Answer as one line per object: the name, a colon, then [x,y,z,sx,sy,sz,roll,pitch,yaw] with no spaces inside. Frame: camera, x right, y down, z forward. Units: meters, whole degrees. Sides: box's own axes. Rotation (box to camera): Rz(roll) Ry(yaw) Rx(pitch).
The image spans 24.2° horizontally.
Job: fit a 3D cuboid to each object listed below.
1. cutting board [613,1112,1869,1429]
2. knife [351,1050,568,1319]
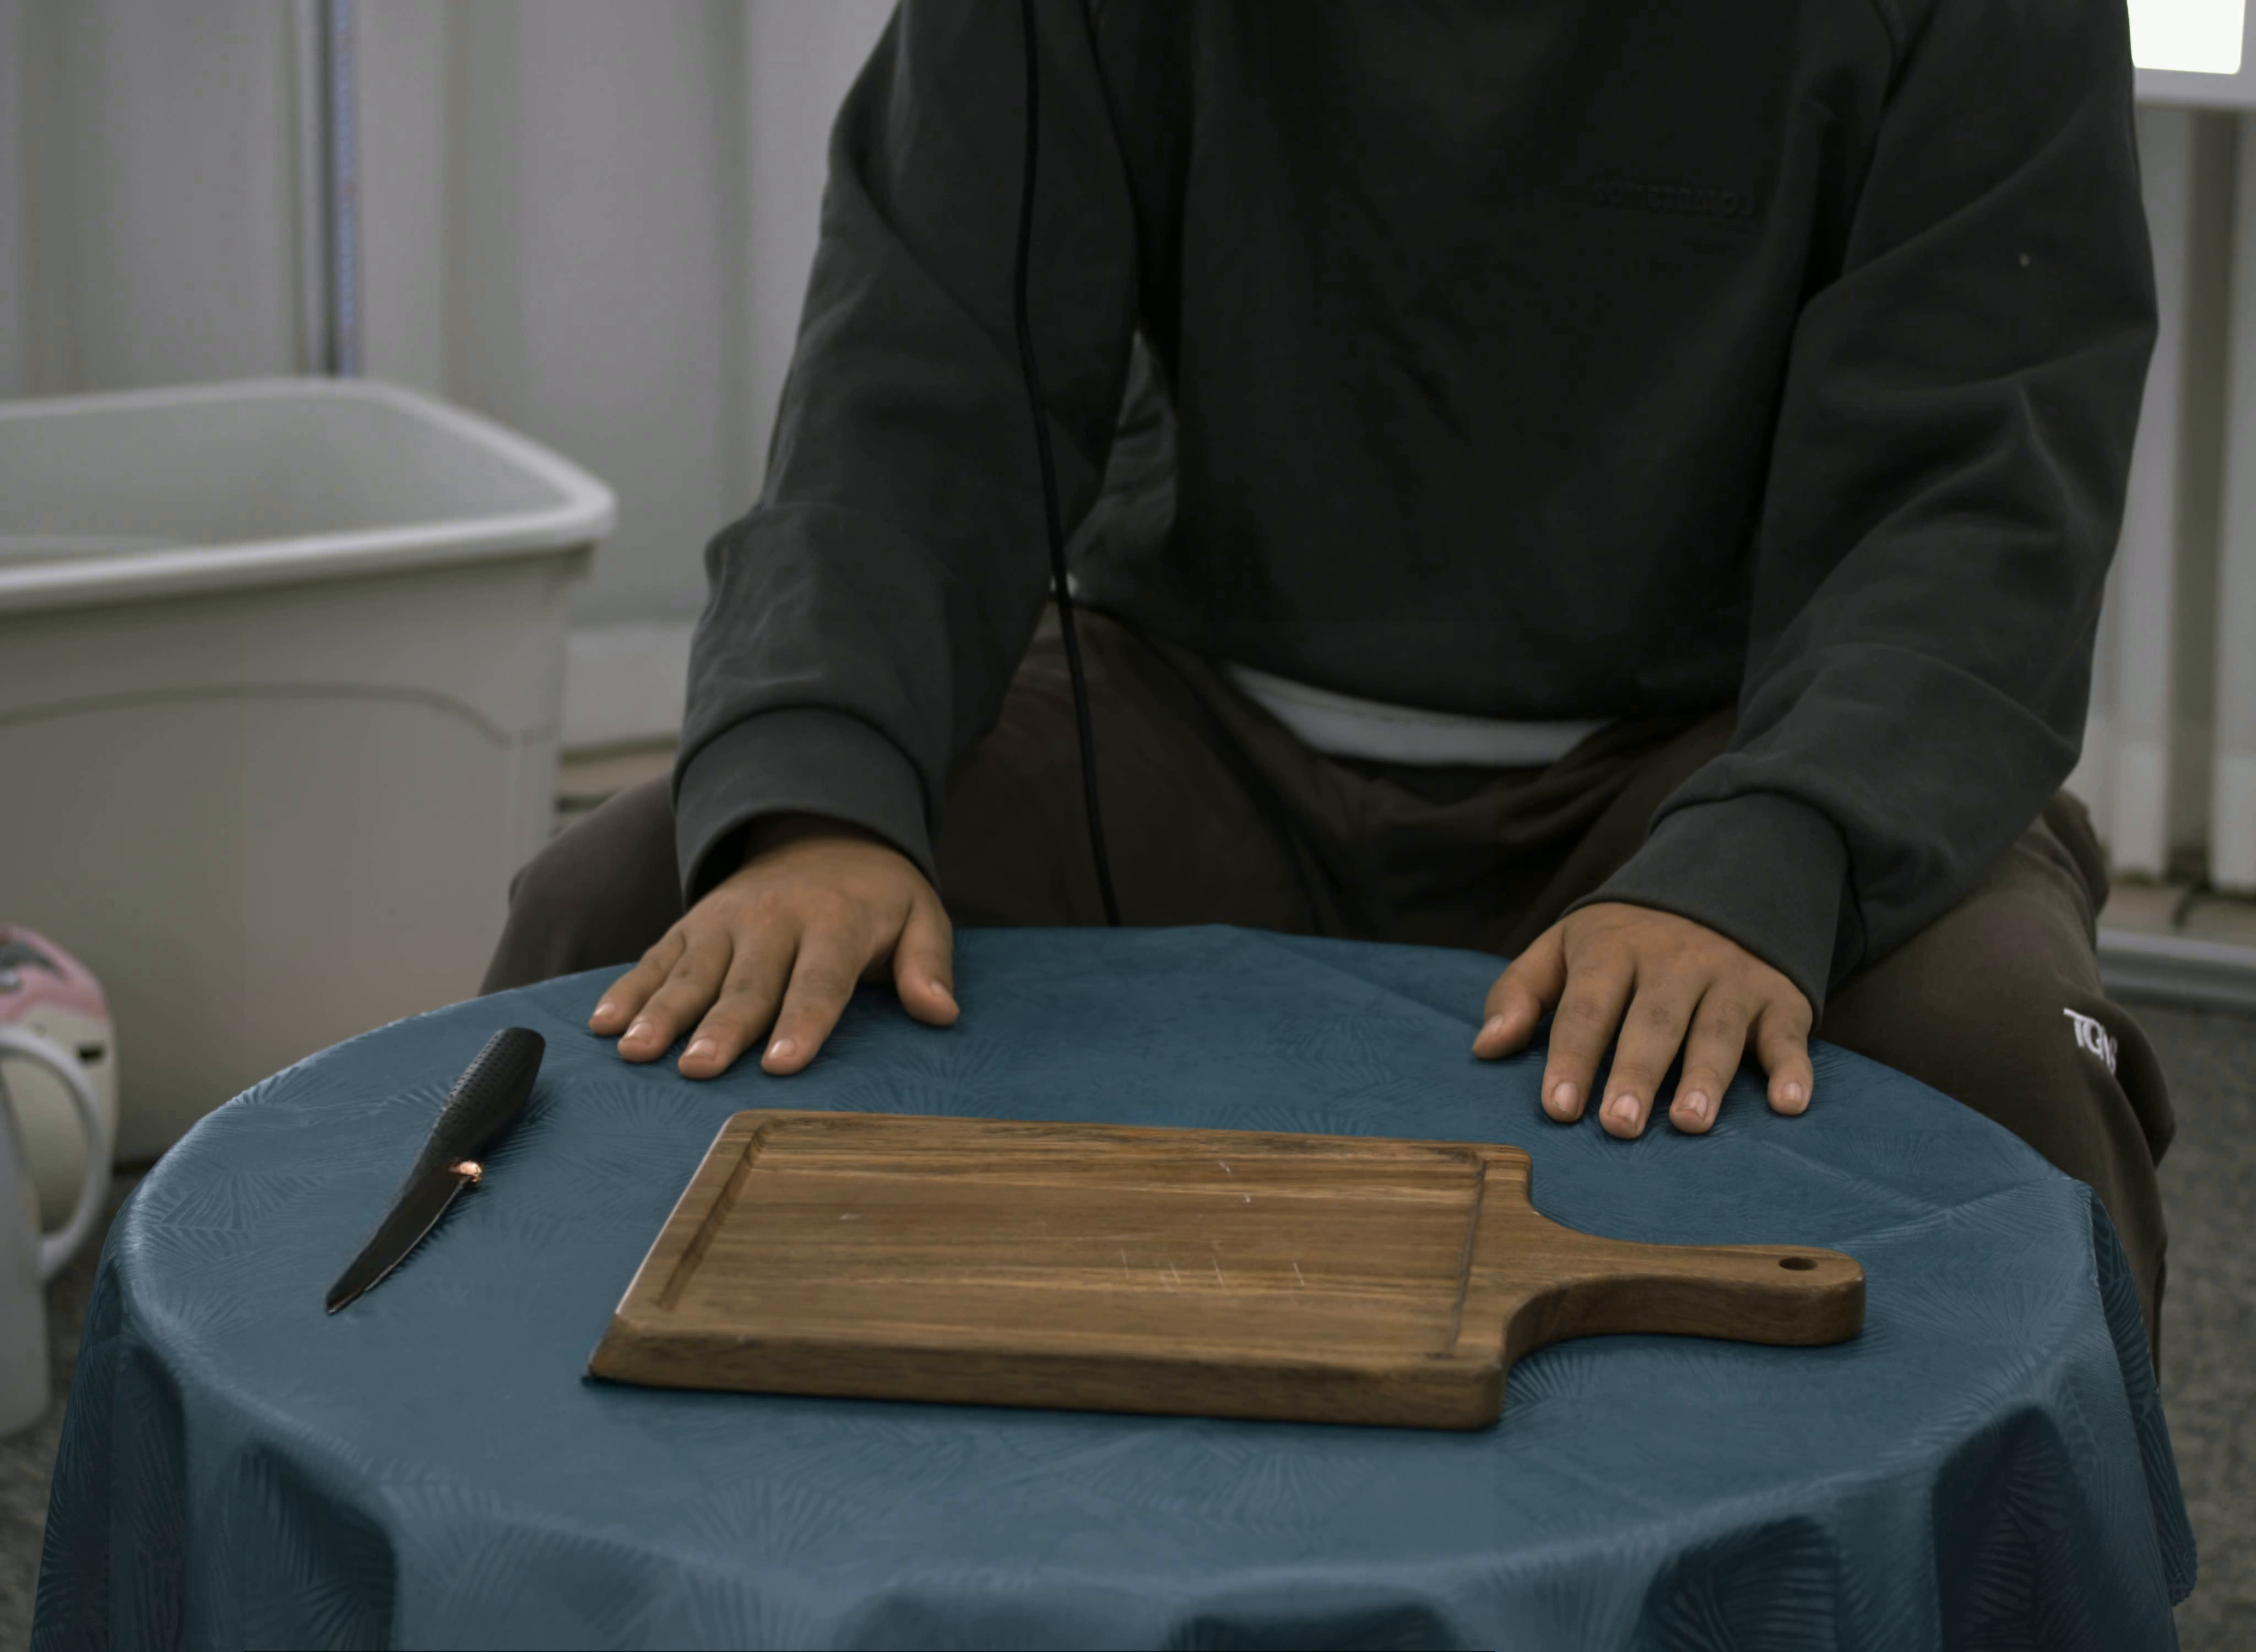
cutting board: [0.039,0.128,1.532,0.350,0.023,0.200,2,16,5]
knife: [-0.208,0.108,1.612,0.026,0.017,0.225,8,17,7]
